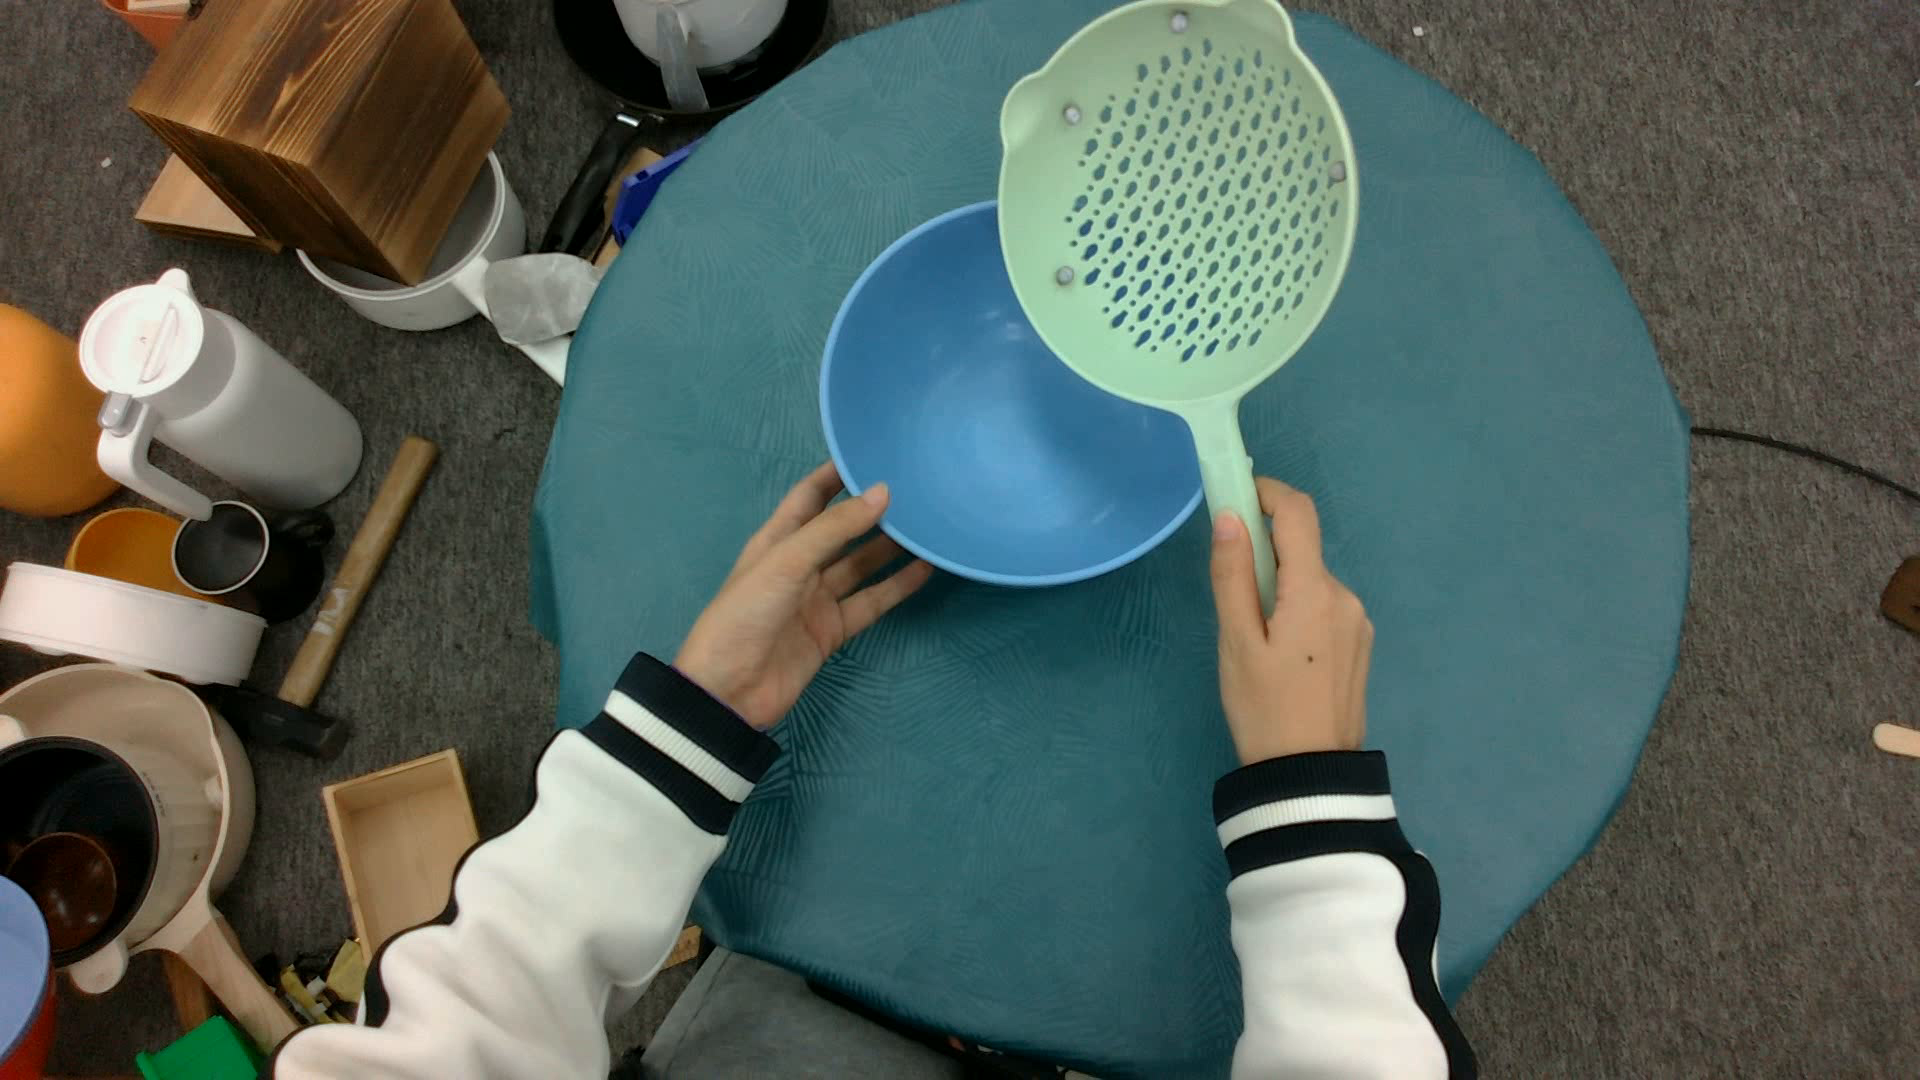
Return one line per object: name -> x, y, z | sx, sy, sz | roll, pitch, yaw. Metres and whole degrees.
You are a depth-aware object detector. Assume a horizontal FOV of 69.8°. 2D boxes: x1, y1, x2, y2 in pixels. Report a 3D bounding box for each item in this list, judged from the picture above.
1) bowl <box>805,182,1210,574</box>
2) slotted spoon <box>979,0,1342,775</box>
bowl -> 0.026, -0.068, 0.686 | 0.196, 0.095, 0.197 | 0, 74, 0
slotted spoon -> 0.113, -0.058, 0.622 | 0.169, 0.075, 0.358 | -8, 94, 37
